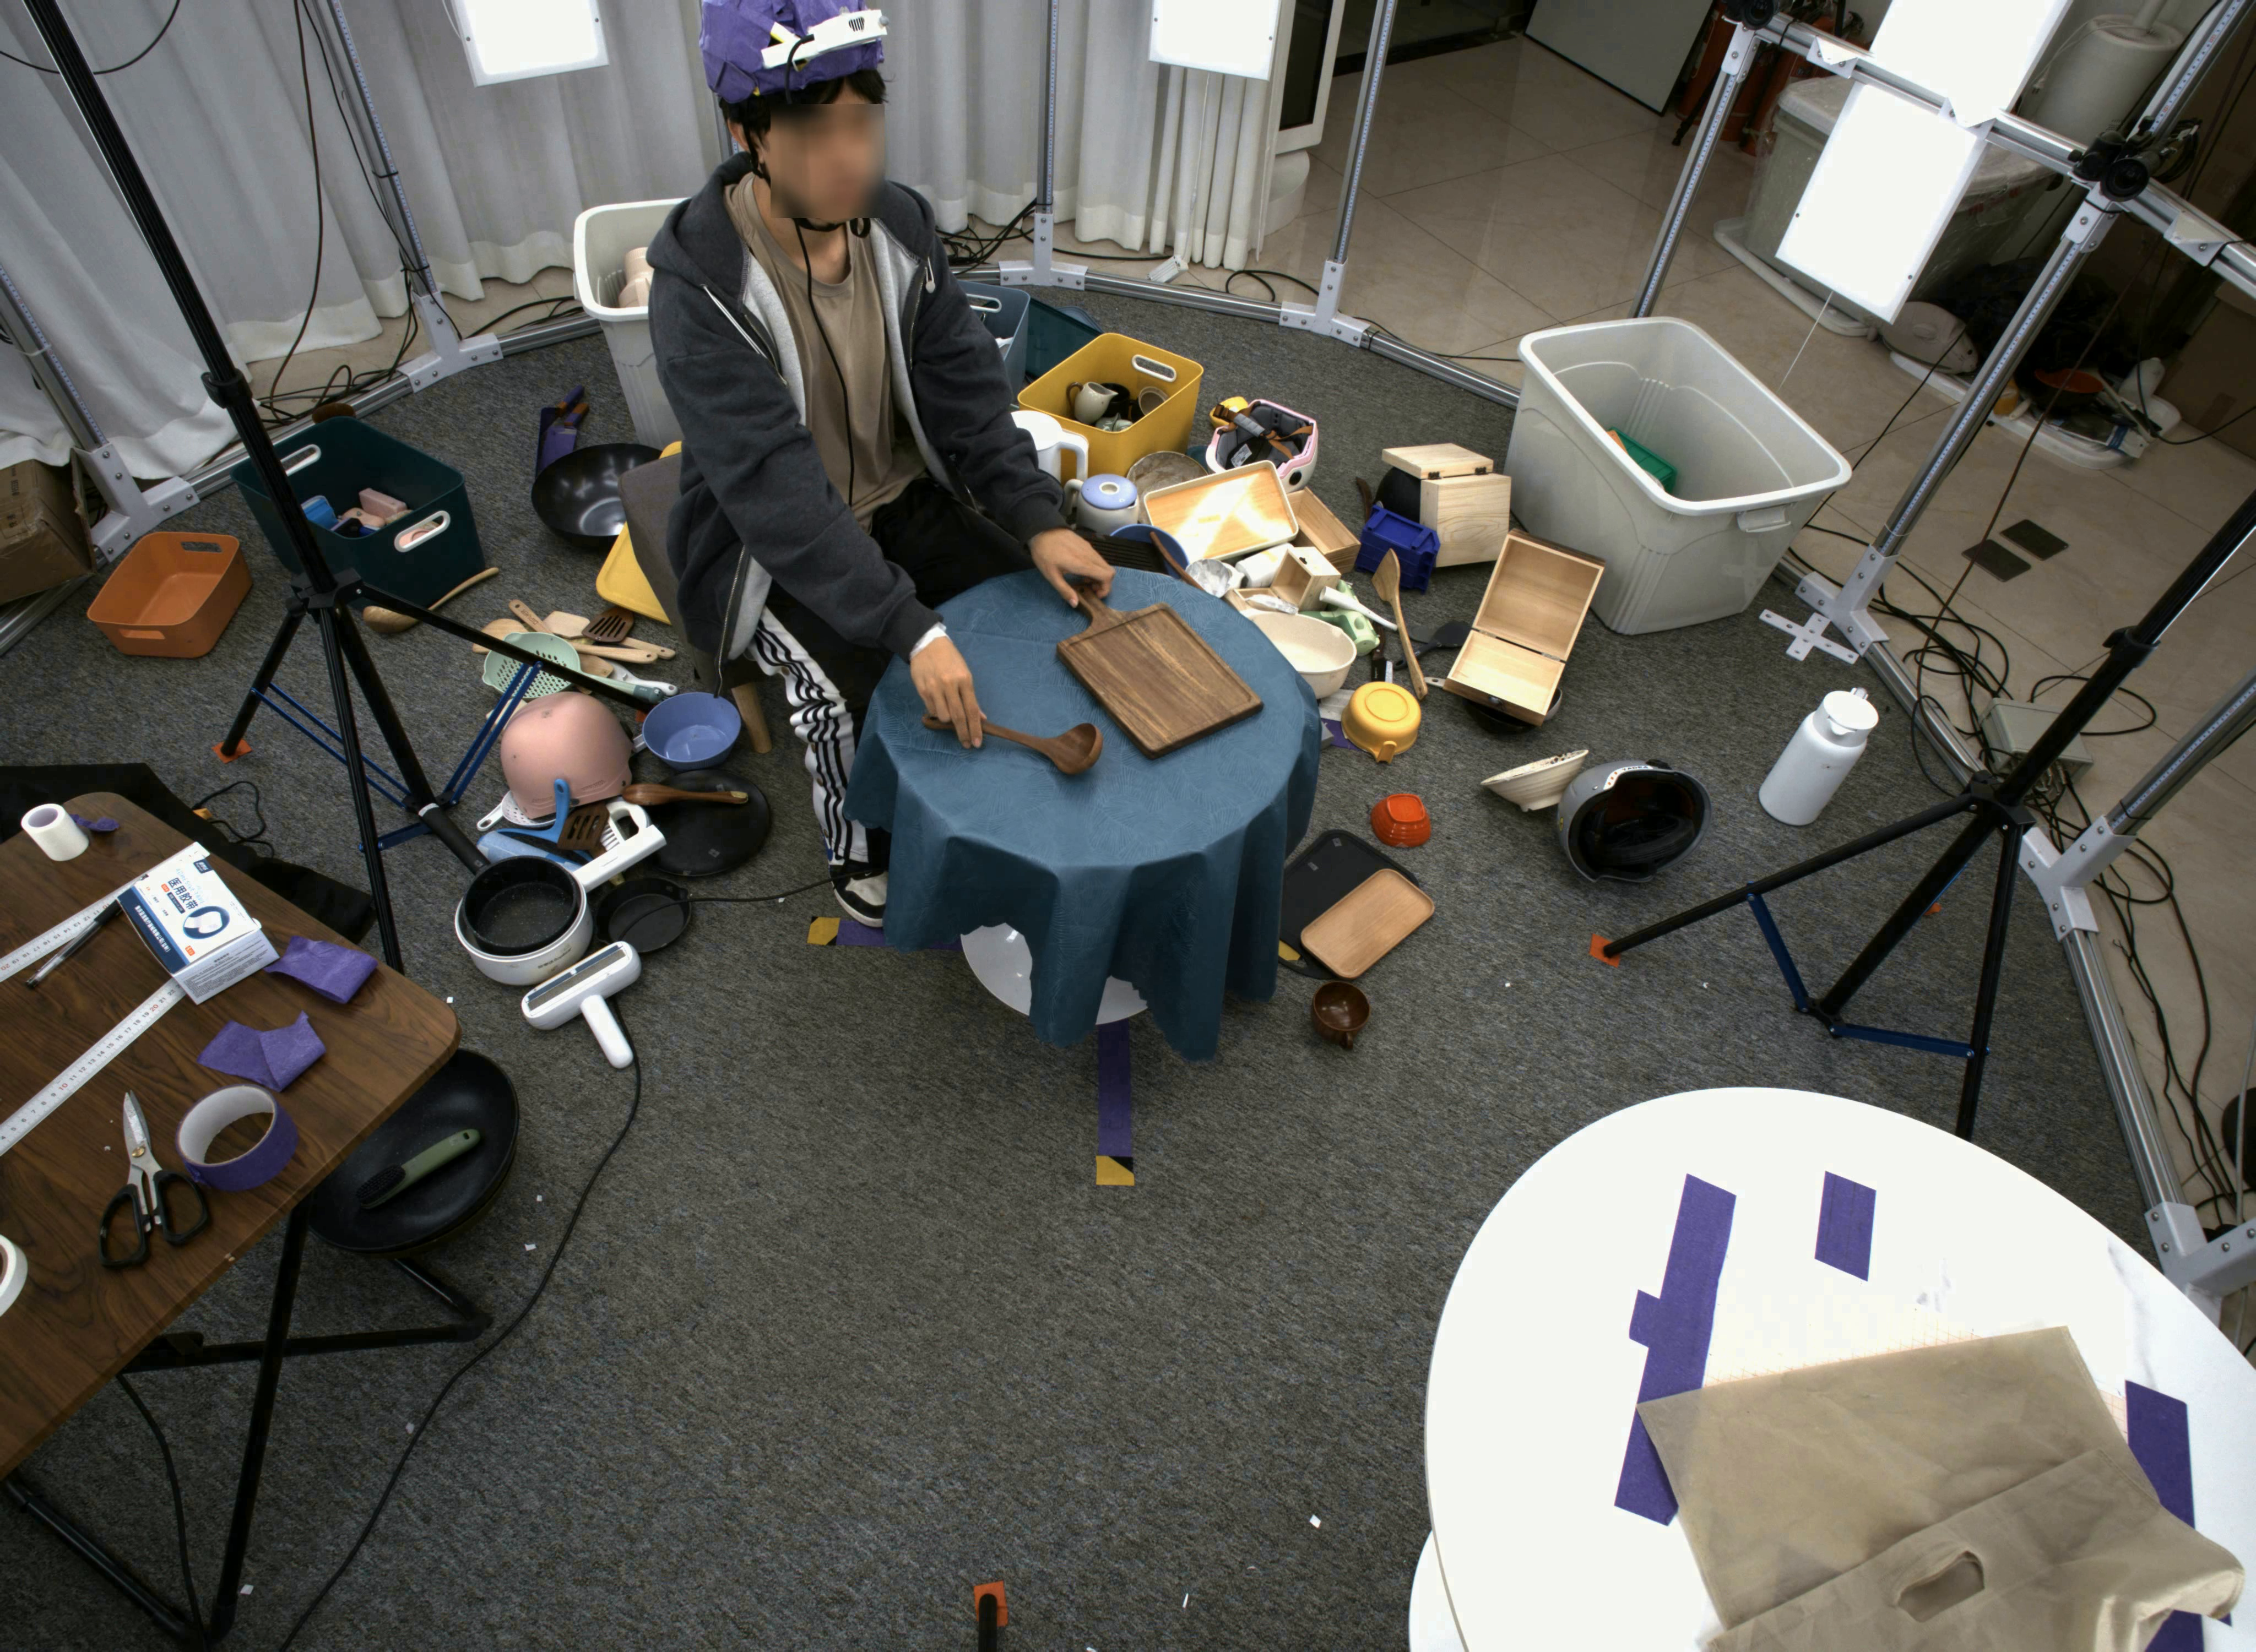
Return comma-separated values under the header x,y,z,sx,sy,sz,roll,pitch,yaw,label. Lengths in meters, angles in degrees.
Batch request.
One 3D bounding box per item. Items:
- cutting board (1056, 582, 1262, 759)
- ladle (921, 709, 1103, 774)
x,y,z,sx,sy,sz,roll,pitch,yaw,label
0.016,-0.247,1.868,0.202,0.022,0.359,-24,55,-24,cutting board
-0.159,-0.129,1.725,0.261,0.063,0.078,16,60,10,ladle
